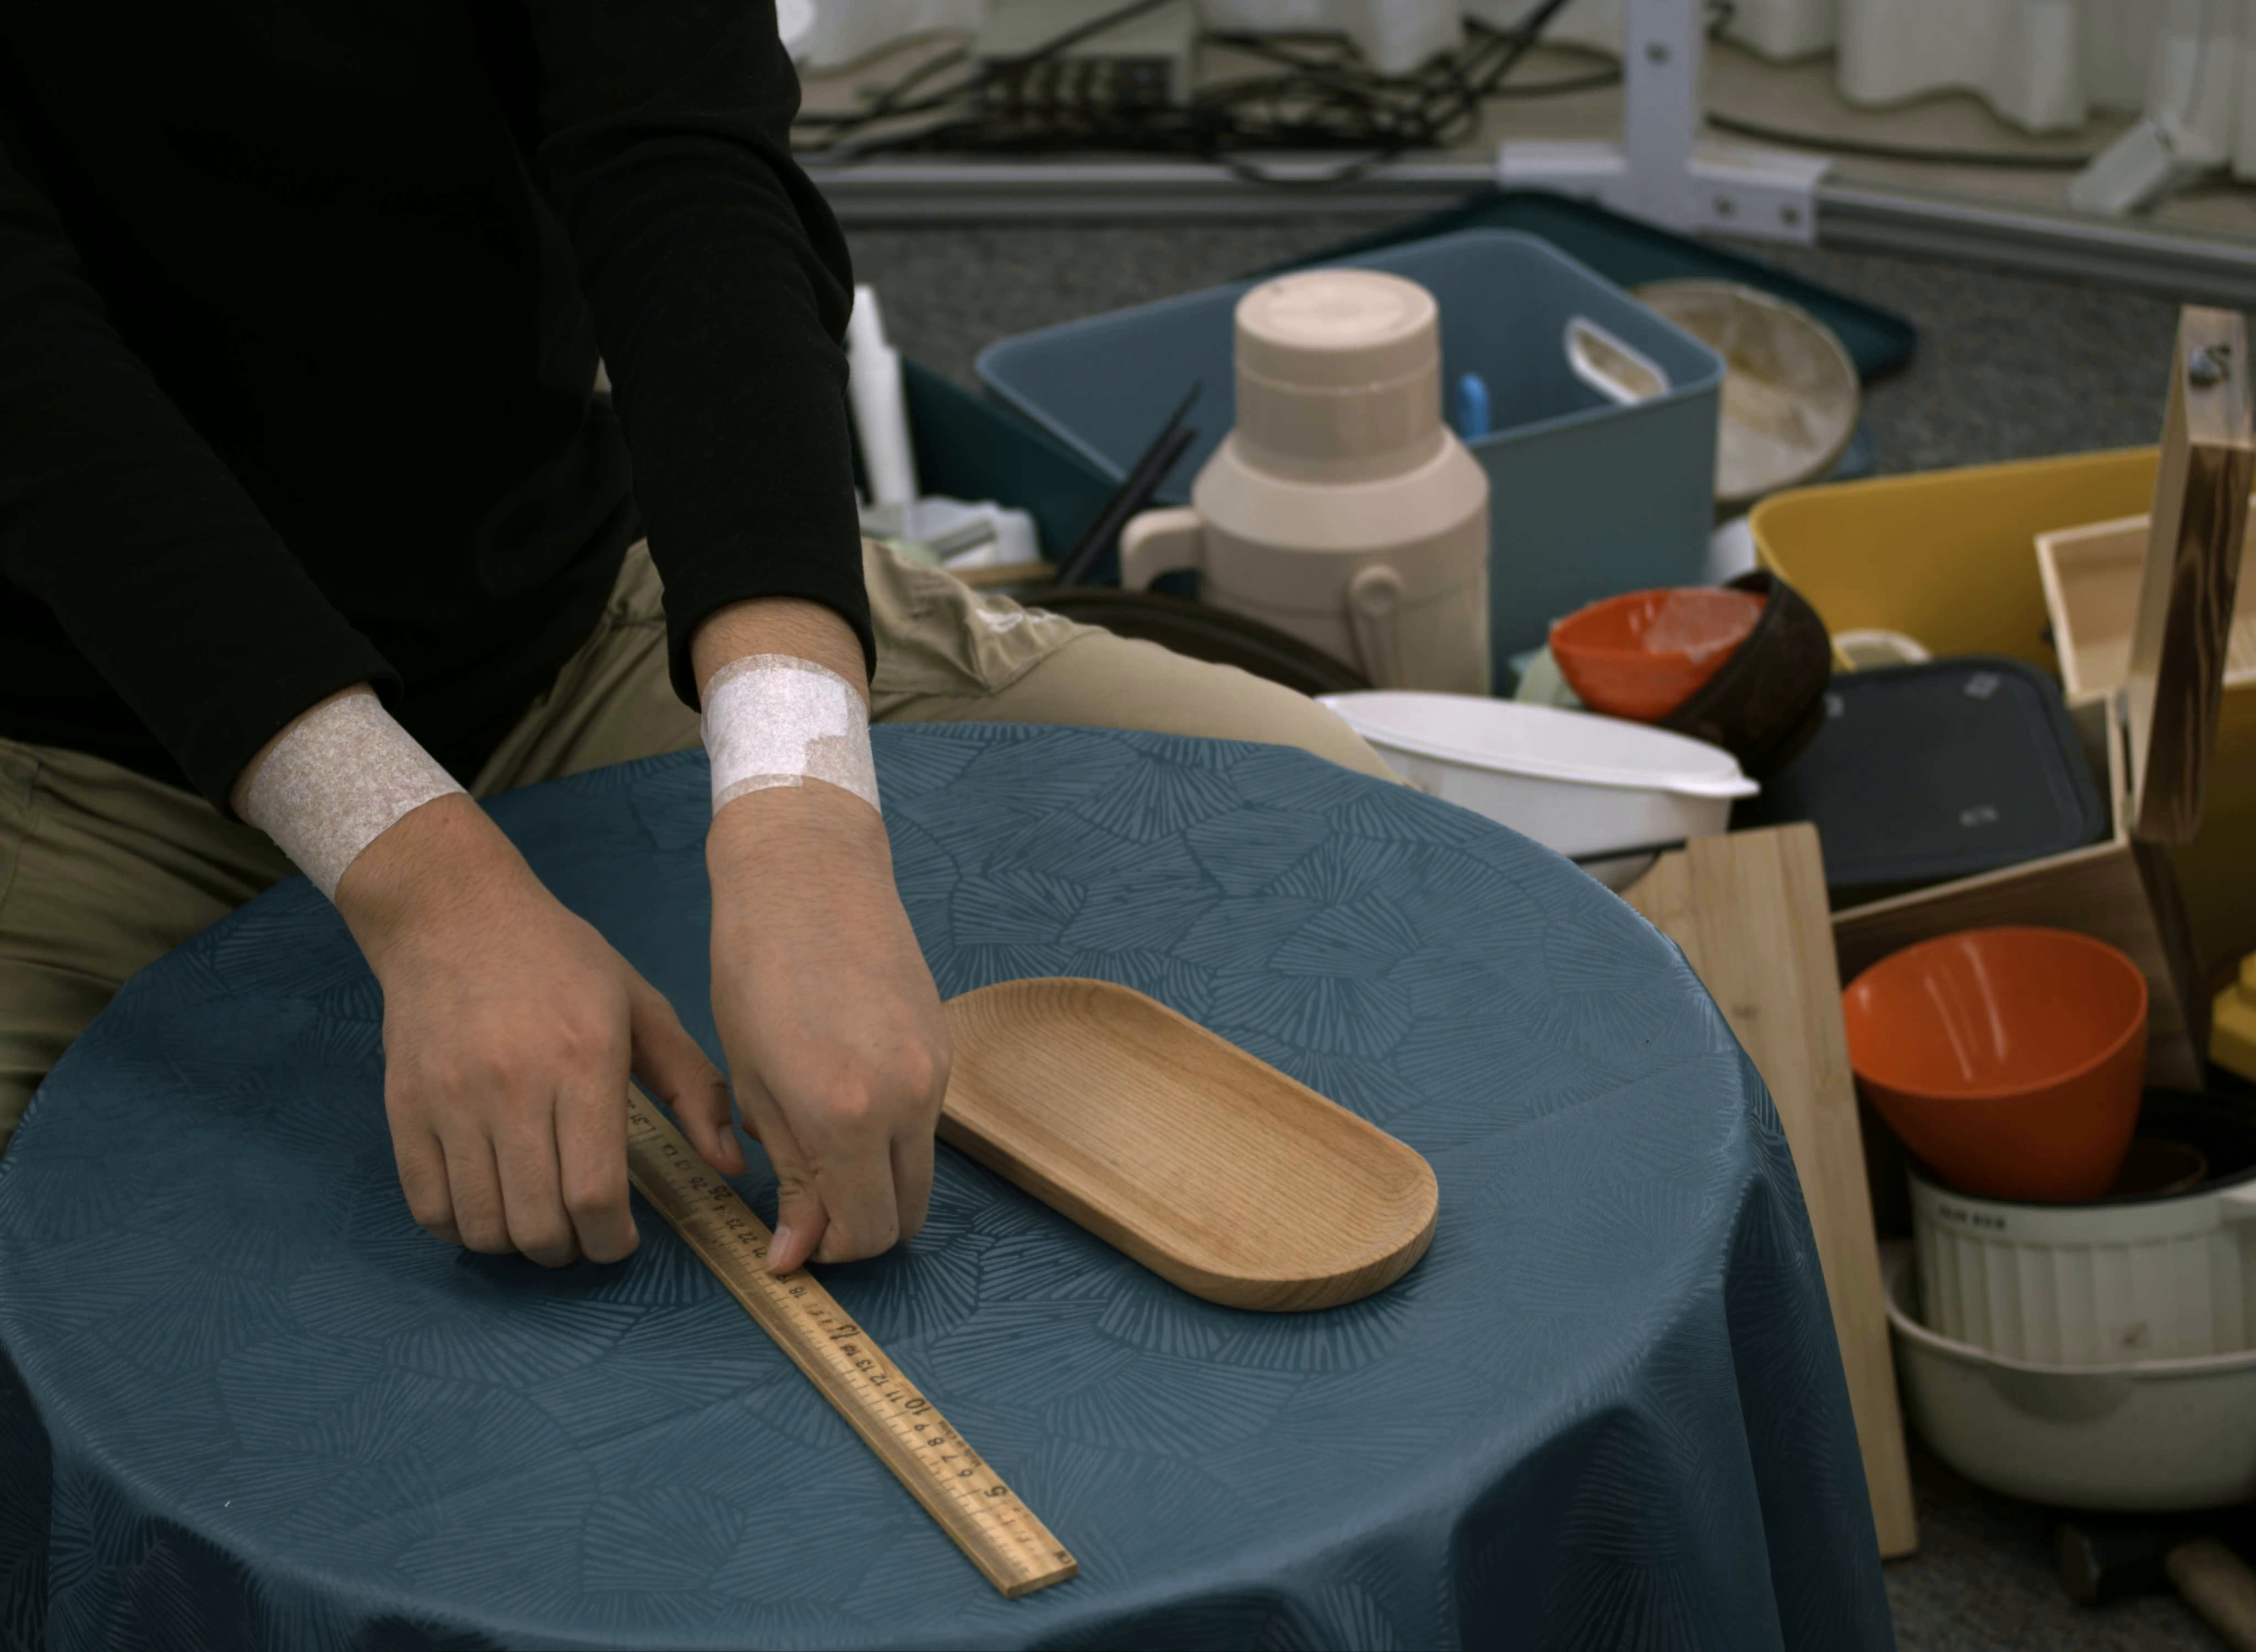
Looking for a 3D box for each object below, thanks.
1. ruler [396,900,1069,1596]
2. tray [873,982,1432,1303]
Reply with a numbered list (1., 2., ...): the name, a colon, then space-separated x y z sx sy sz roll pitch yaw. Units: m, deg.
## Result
1. ruler: -0.142 0.127 1.860 0.027 0.006 0.503 -11 28 -25
2. tray: 0.006 0.104 1.876 0.103 0.020 0.231 -22 31 -35
